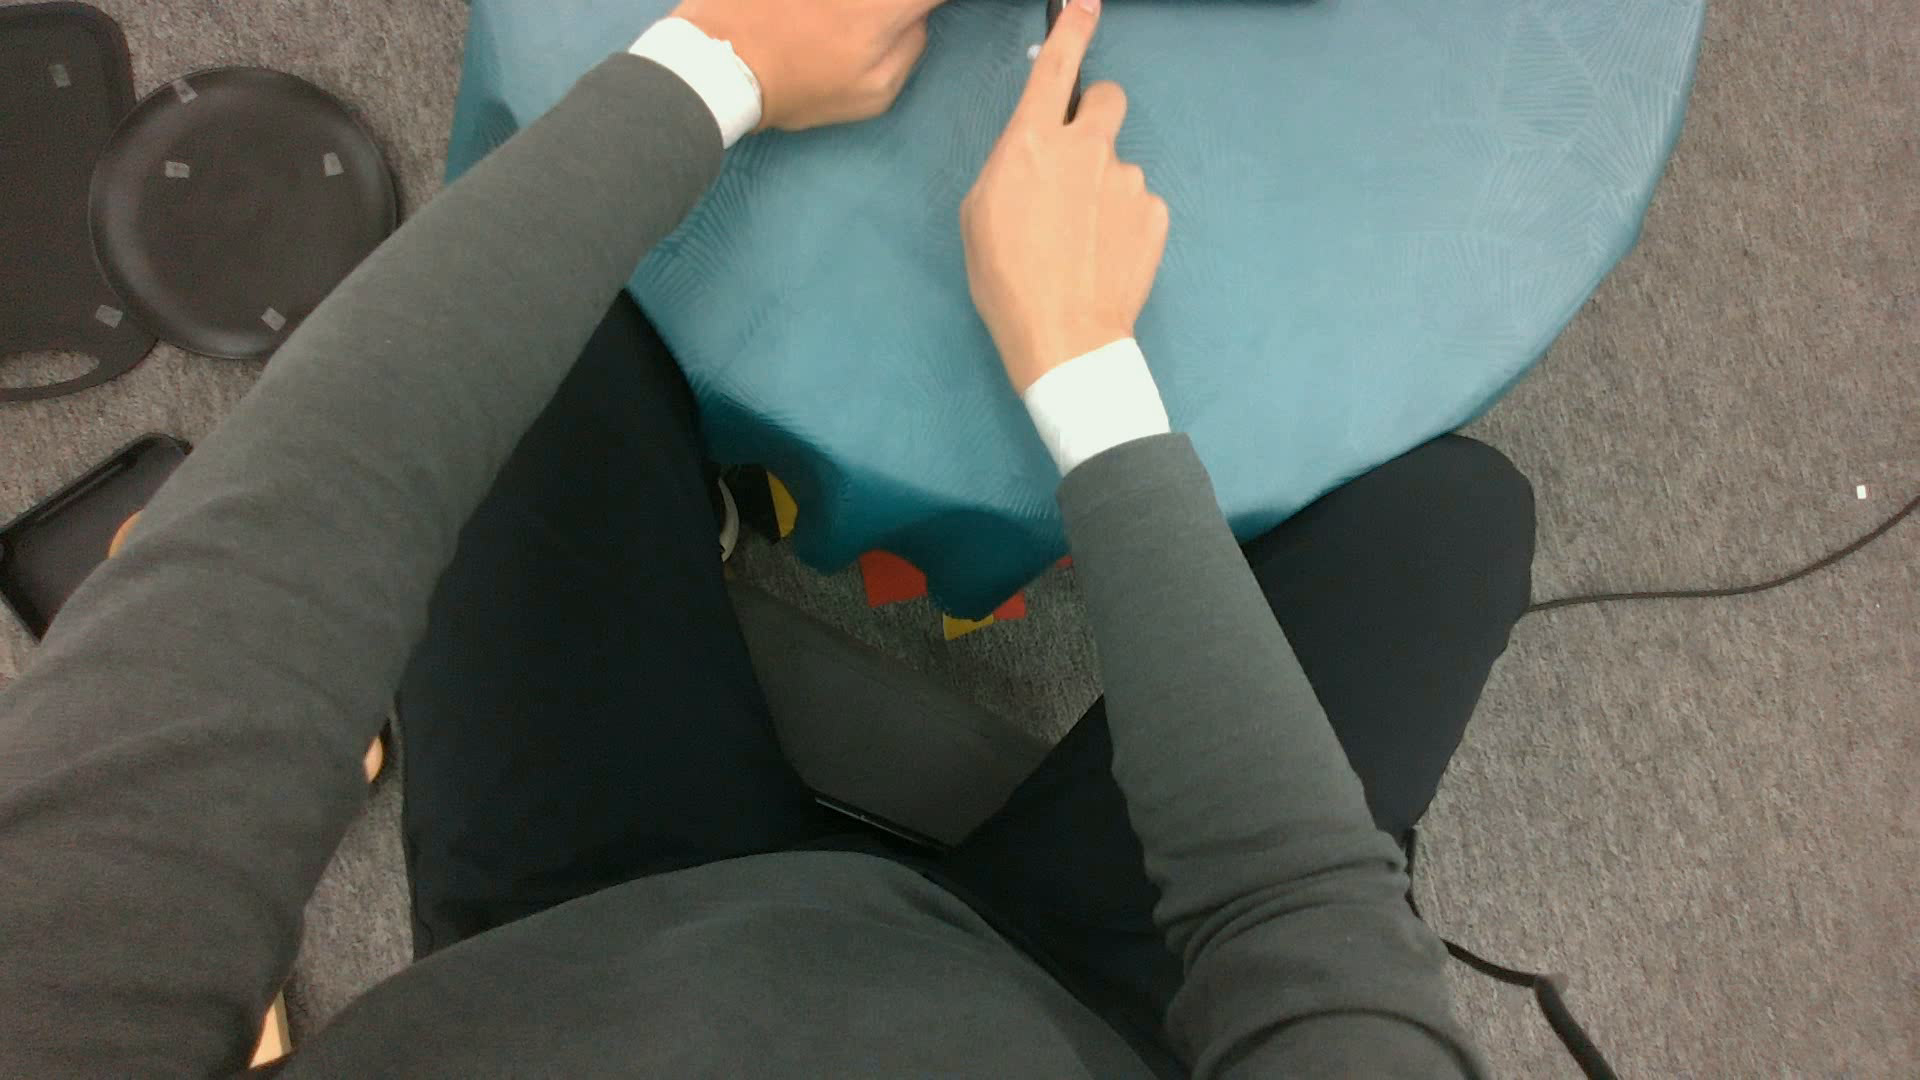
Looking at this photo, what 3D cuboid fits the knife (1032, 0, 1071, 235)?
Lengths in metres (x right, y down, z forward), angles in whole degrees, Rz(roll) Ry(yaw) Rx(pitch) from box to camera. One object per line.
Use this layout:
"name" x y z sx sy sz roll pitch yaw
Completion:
"knife" 0.039 -0.256 0.626 0.016 0.024 0.238 -2 84 5
